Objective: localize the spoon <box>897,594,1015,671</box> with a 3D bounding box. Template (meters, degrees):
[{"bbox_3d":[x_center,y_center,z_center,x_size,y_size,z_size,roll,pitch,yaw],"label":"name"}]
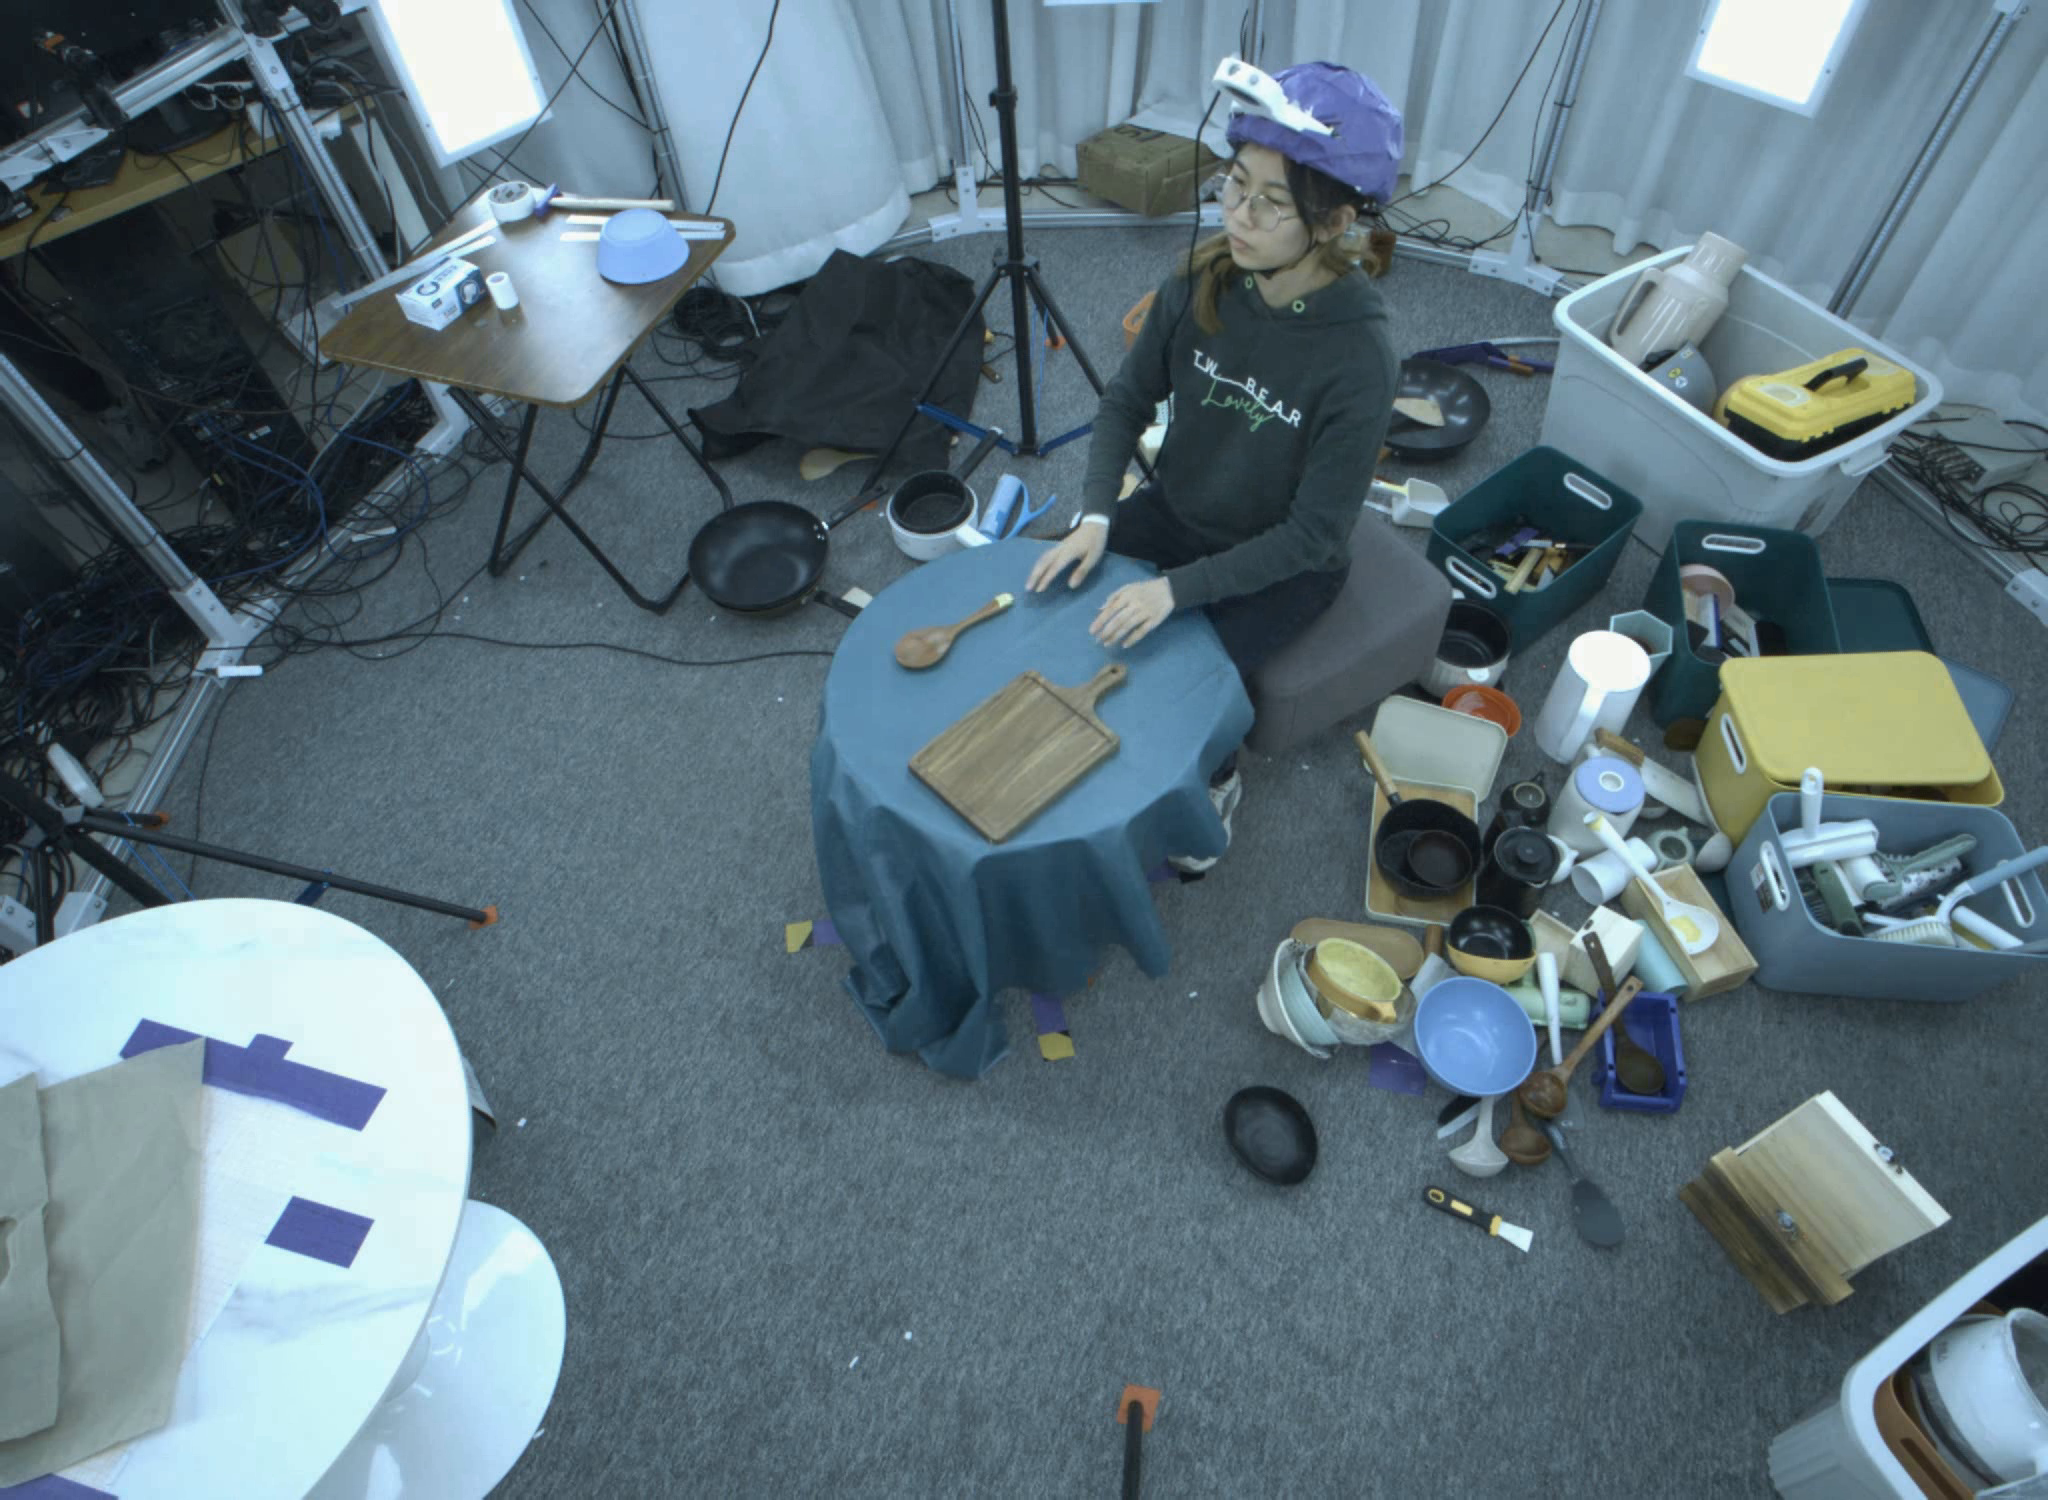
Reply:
[{"bbox_3d":[-0.103,-0.184,1.919,0.217,0.017,0.074,-33,59,-19],"label":"spoon"}]

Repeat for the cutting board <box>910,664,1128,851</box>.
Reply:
[{"bbox_3d":[0.025,-0.018,1.798,0.355,0.023,0.197,-39,62,-23],"label":"cutting board"}]
